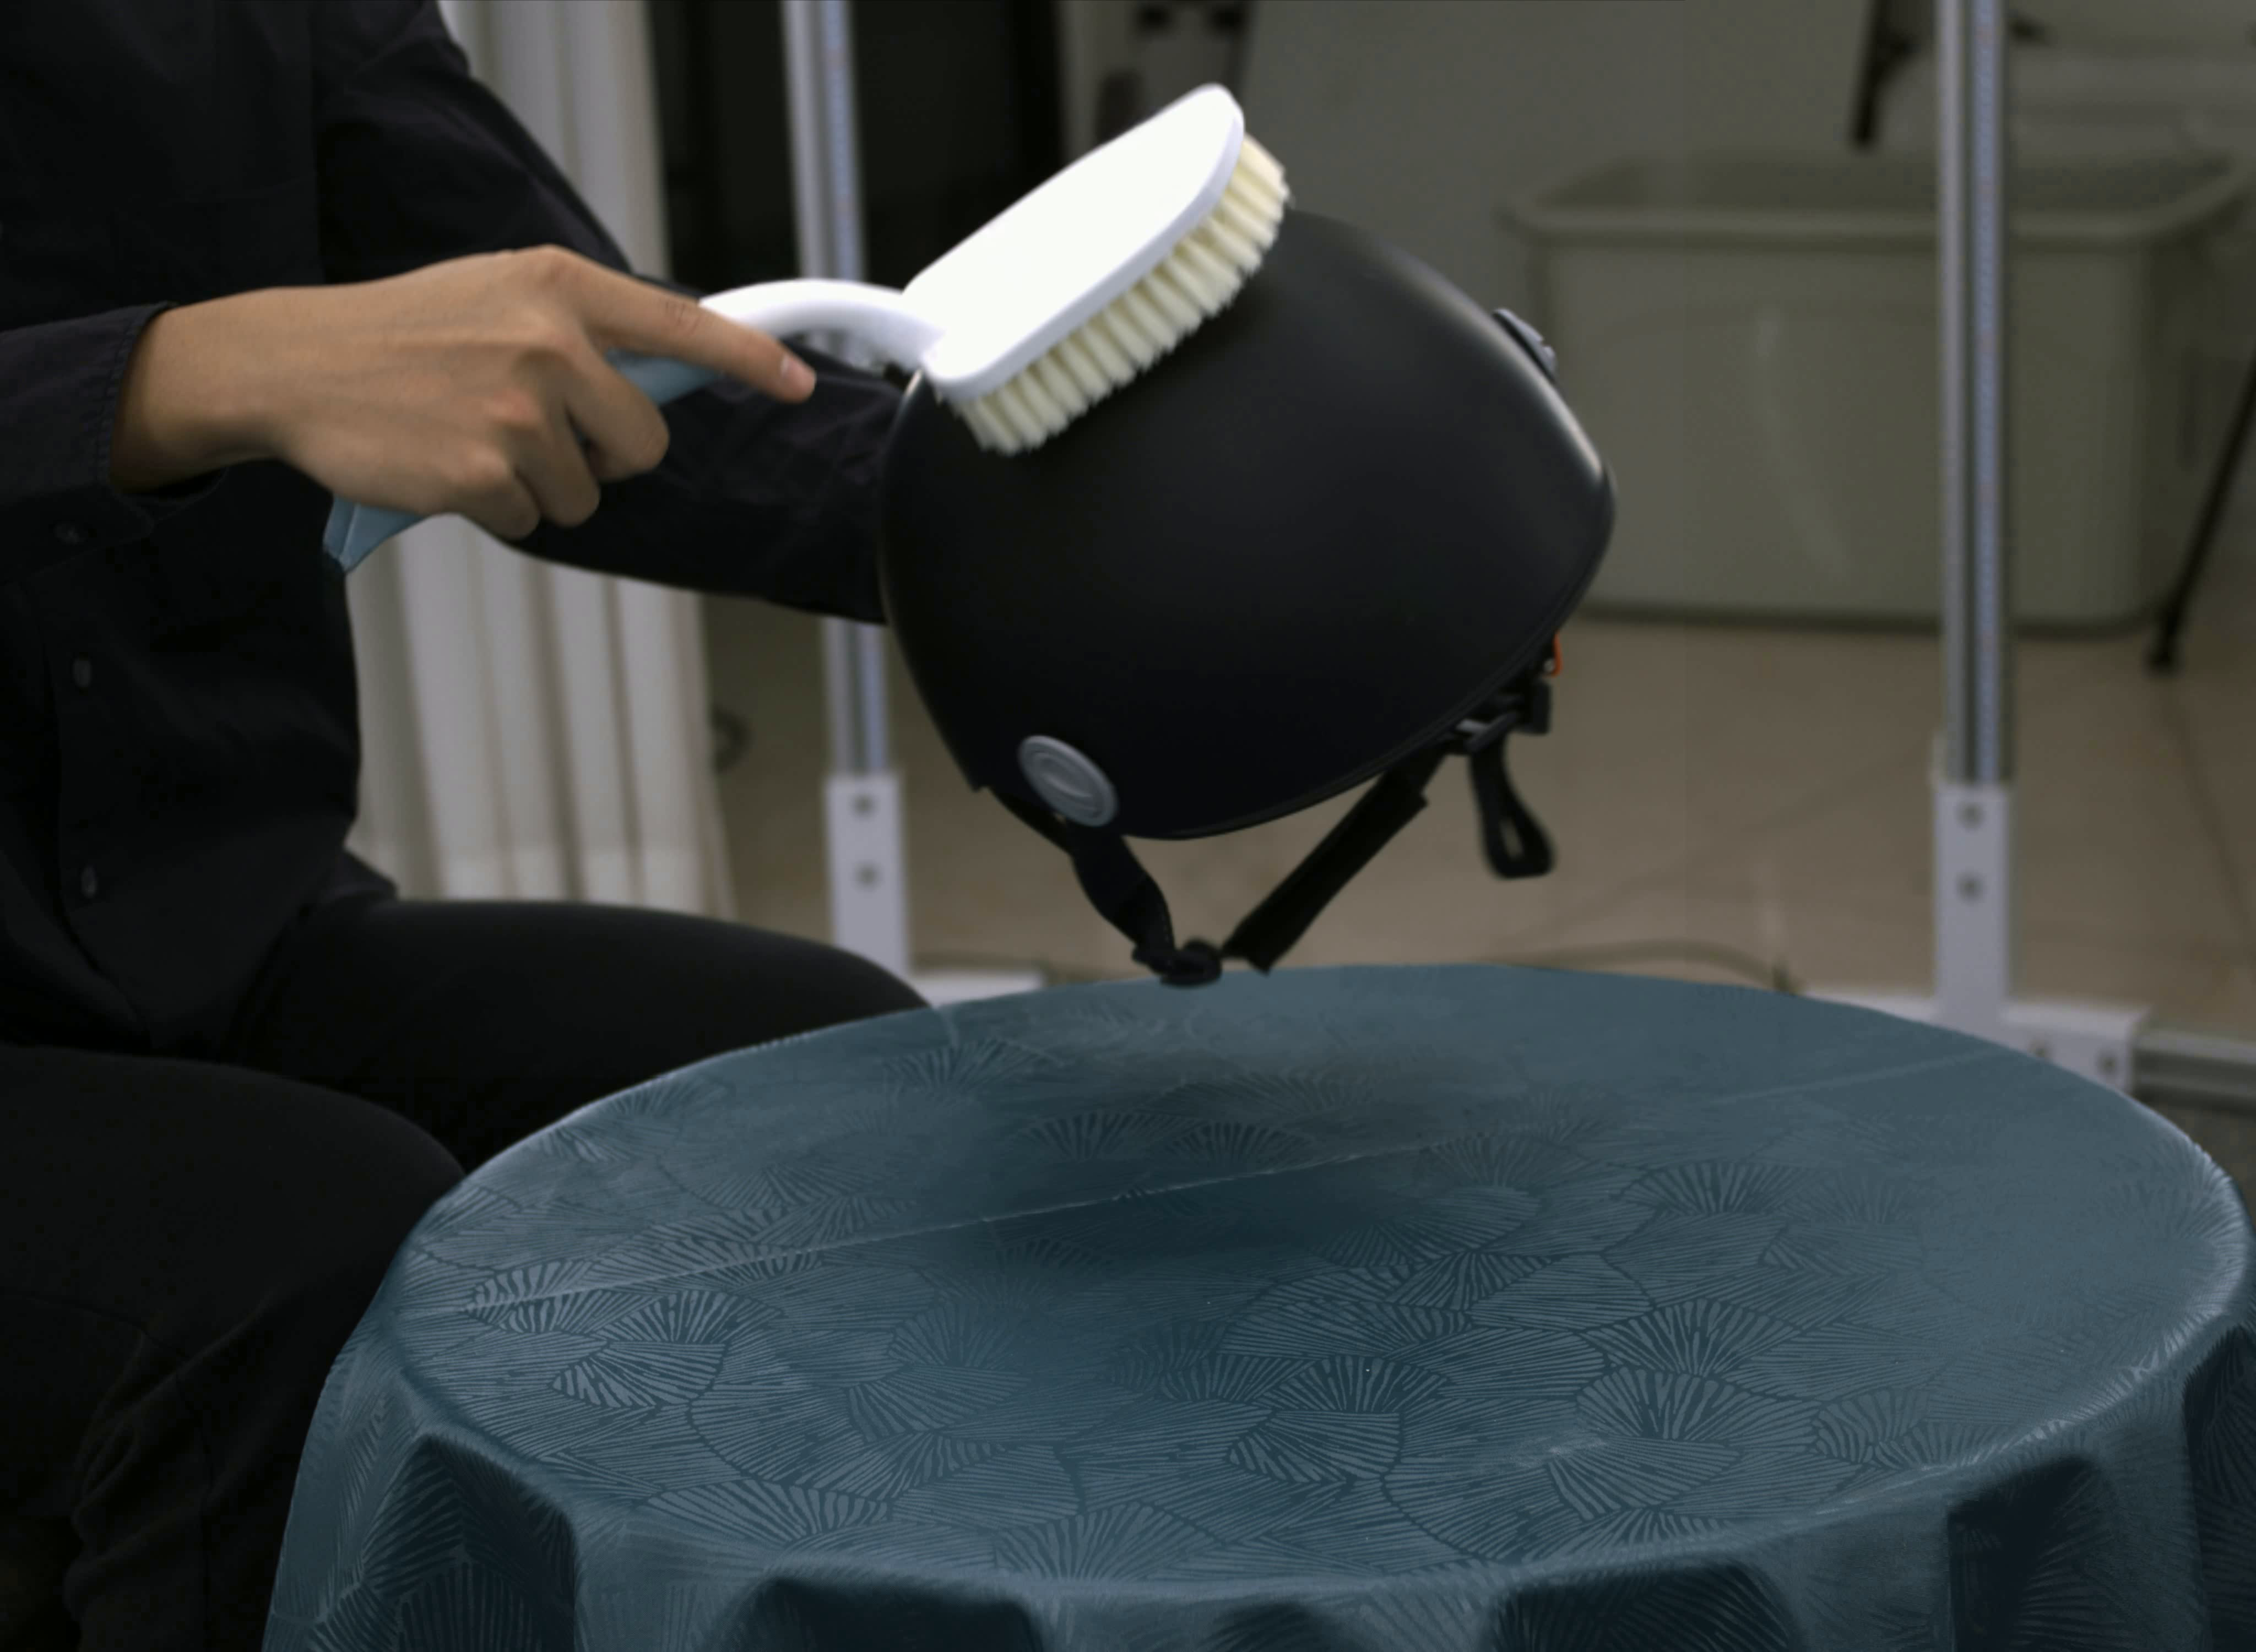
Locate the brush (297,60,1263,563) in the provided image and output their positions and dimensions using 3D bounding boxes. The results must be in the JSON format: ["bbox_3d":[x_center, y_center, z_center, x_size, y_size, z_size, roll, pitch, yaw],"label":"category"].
[{"bbox_3d":[-0.103,-0.138,1.686,0.322,0.085,0.083,-27,-1,-4],"label":"brush"}]

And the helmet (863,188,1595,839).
[{"bbox_3d":[0.016,-0.117,1.767,0.229,0.166,0.276,-43,21,-14],"label":"helmet"}]
